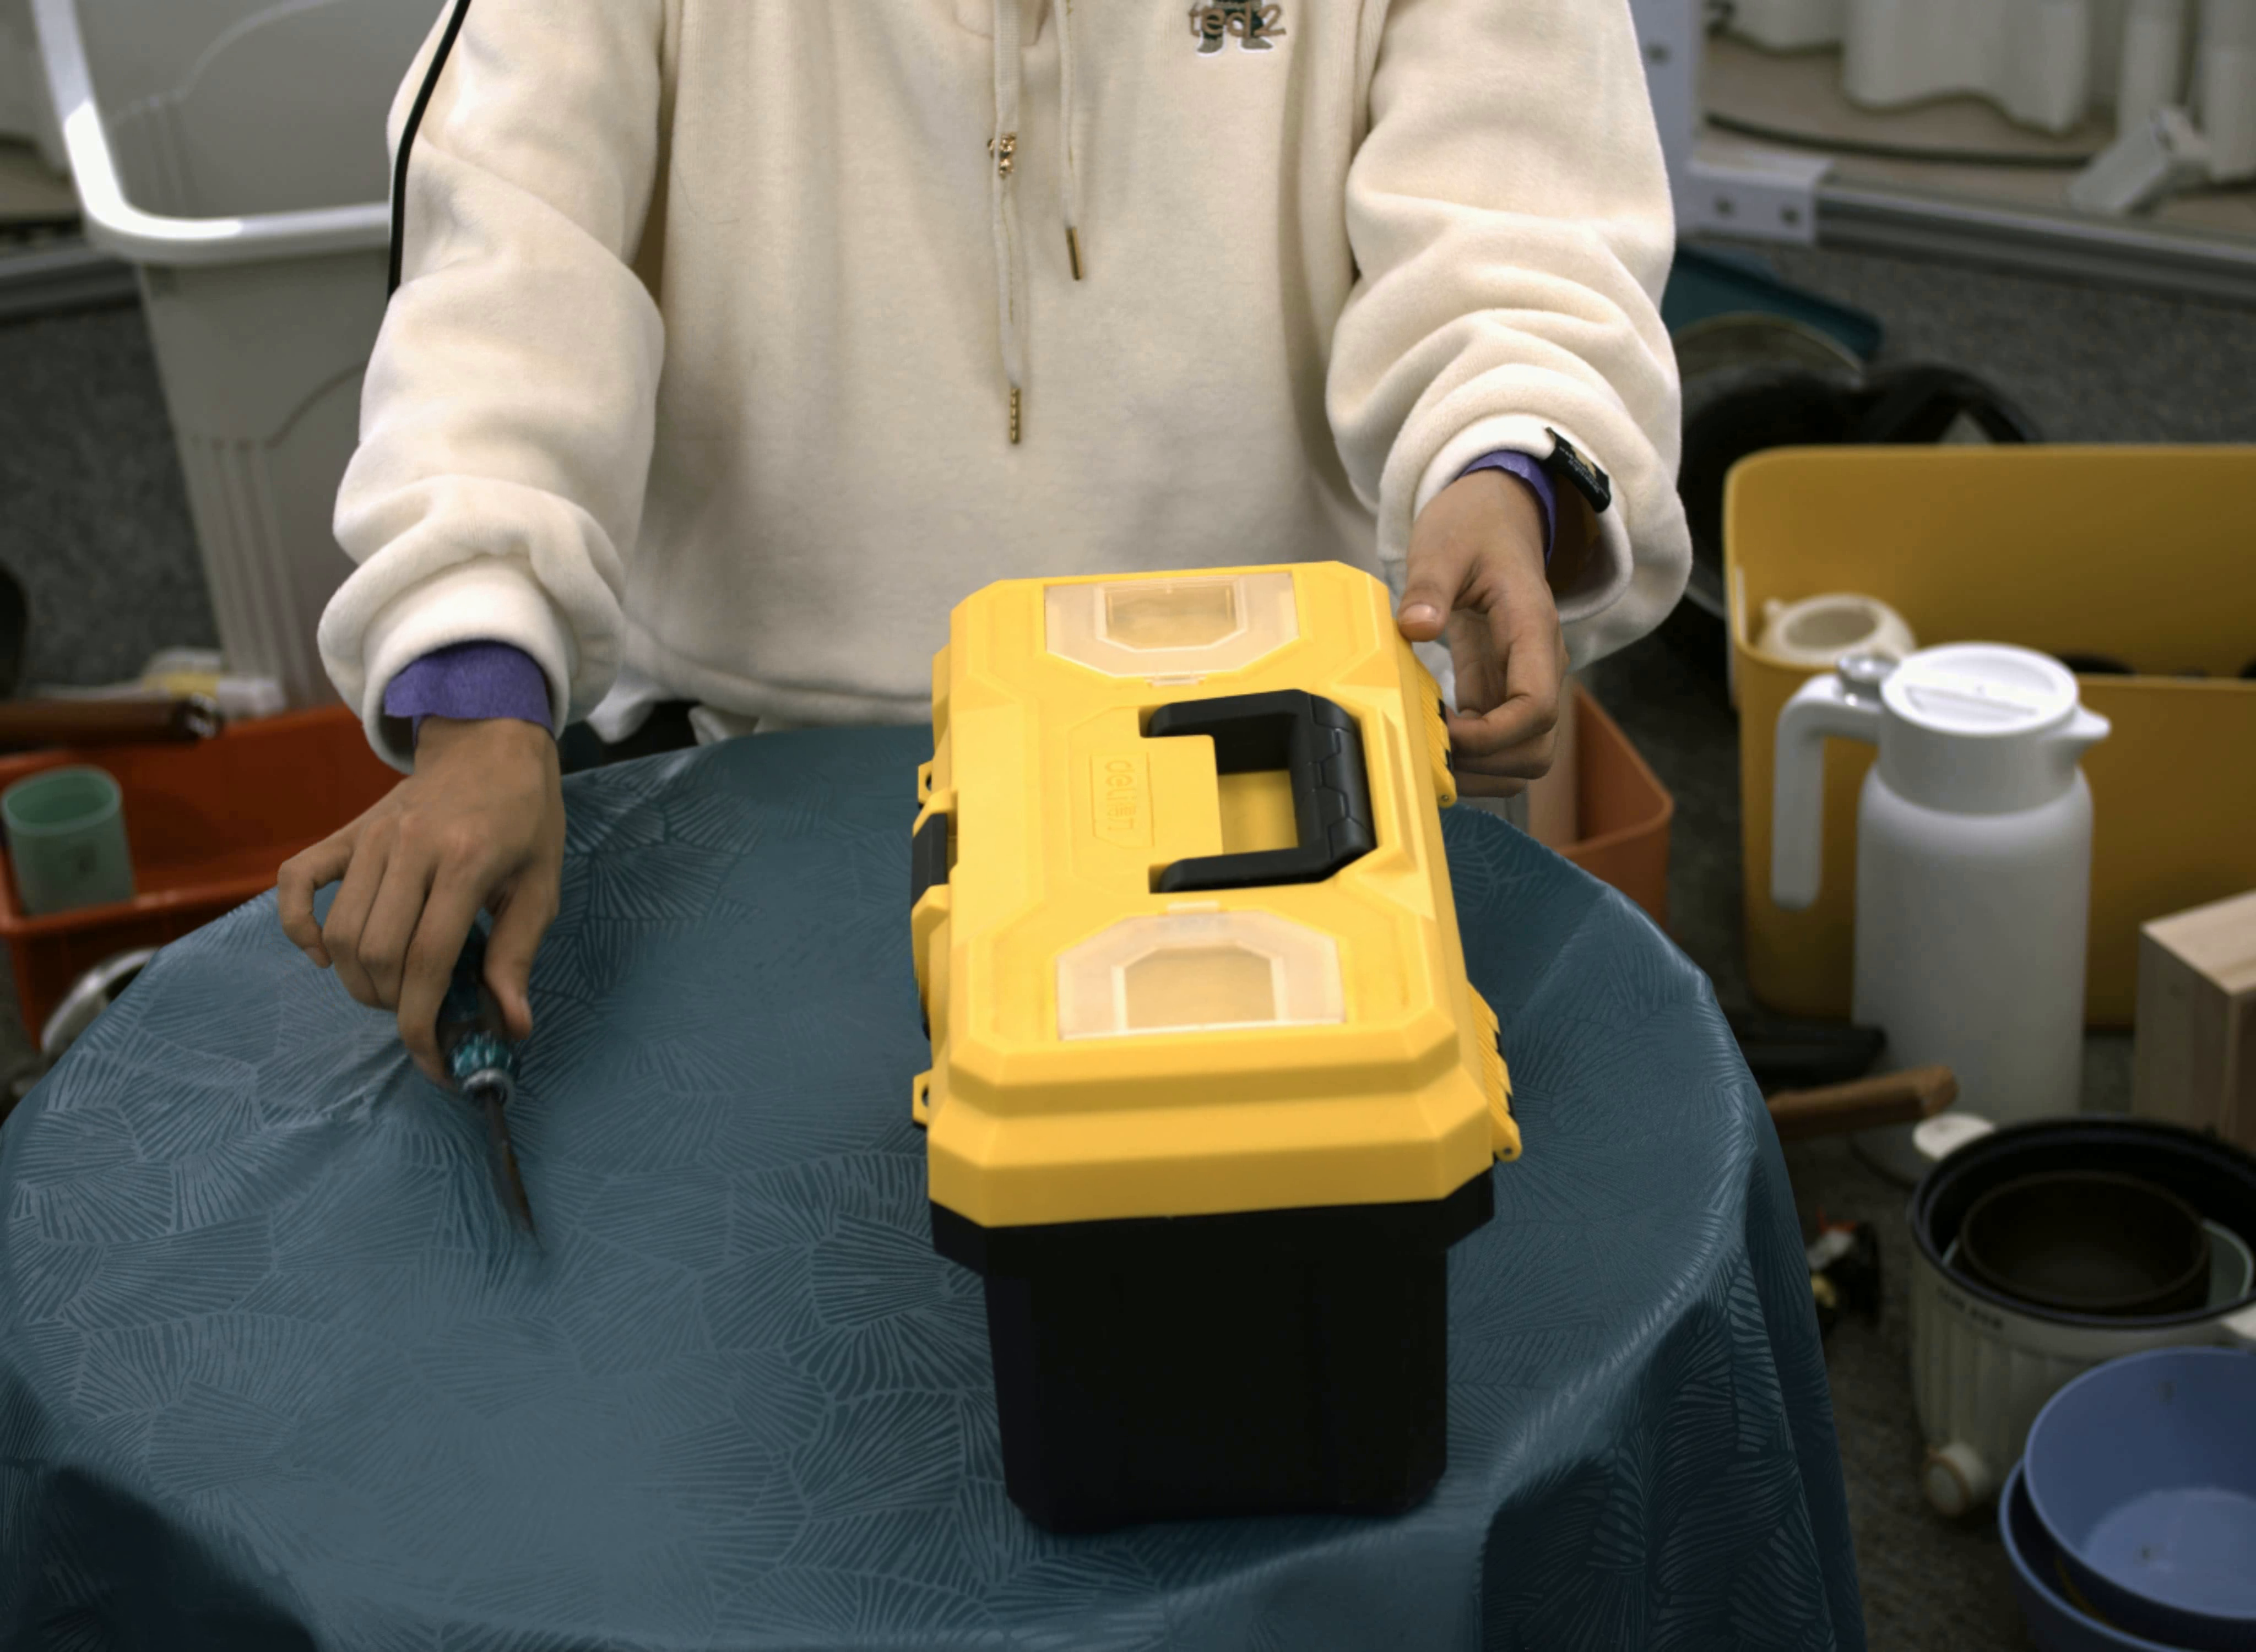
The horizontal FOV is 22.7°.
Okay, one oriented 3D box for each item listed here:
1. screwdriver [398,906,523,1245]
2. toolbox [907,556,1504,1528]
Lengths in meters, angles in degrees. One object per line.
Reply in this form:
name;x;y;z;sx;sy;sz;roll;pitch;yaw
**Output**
screwdriver;-0.222;0.087;1.908;0.033;0.033;0.192;-9;33;-12
toolbox;0.022;0.061;1.788;0.180;0.171;0.357;-3;27;0
